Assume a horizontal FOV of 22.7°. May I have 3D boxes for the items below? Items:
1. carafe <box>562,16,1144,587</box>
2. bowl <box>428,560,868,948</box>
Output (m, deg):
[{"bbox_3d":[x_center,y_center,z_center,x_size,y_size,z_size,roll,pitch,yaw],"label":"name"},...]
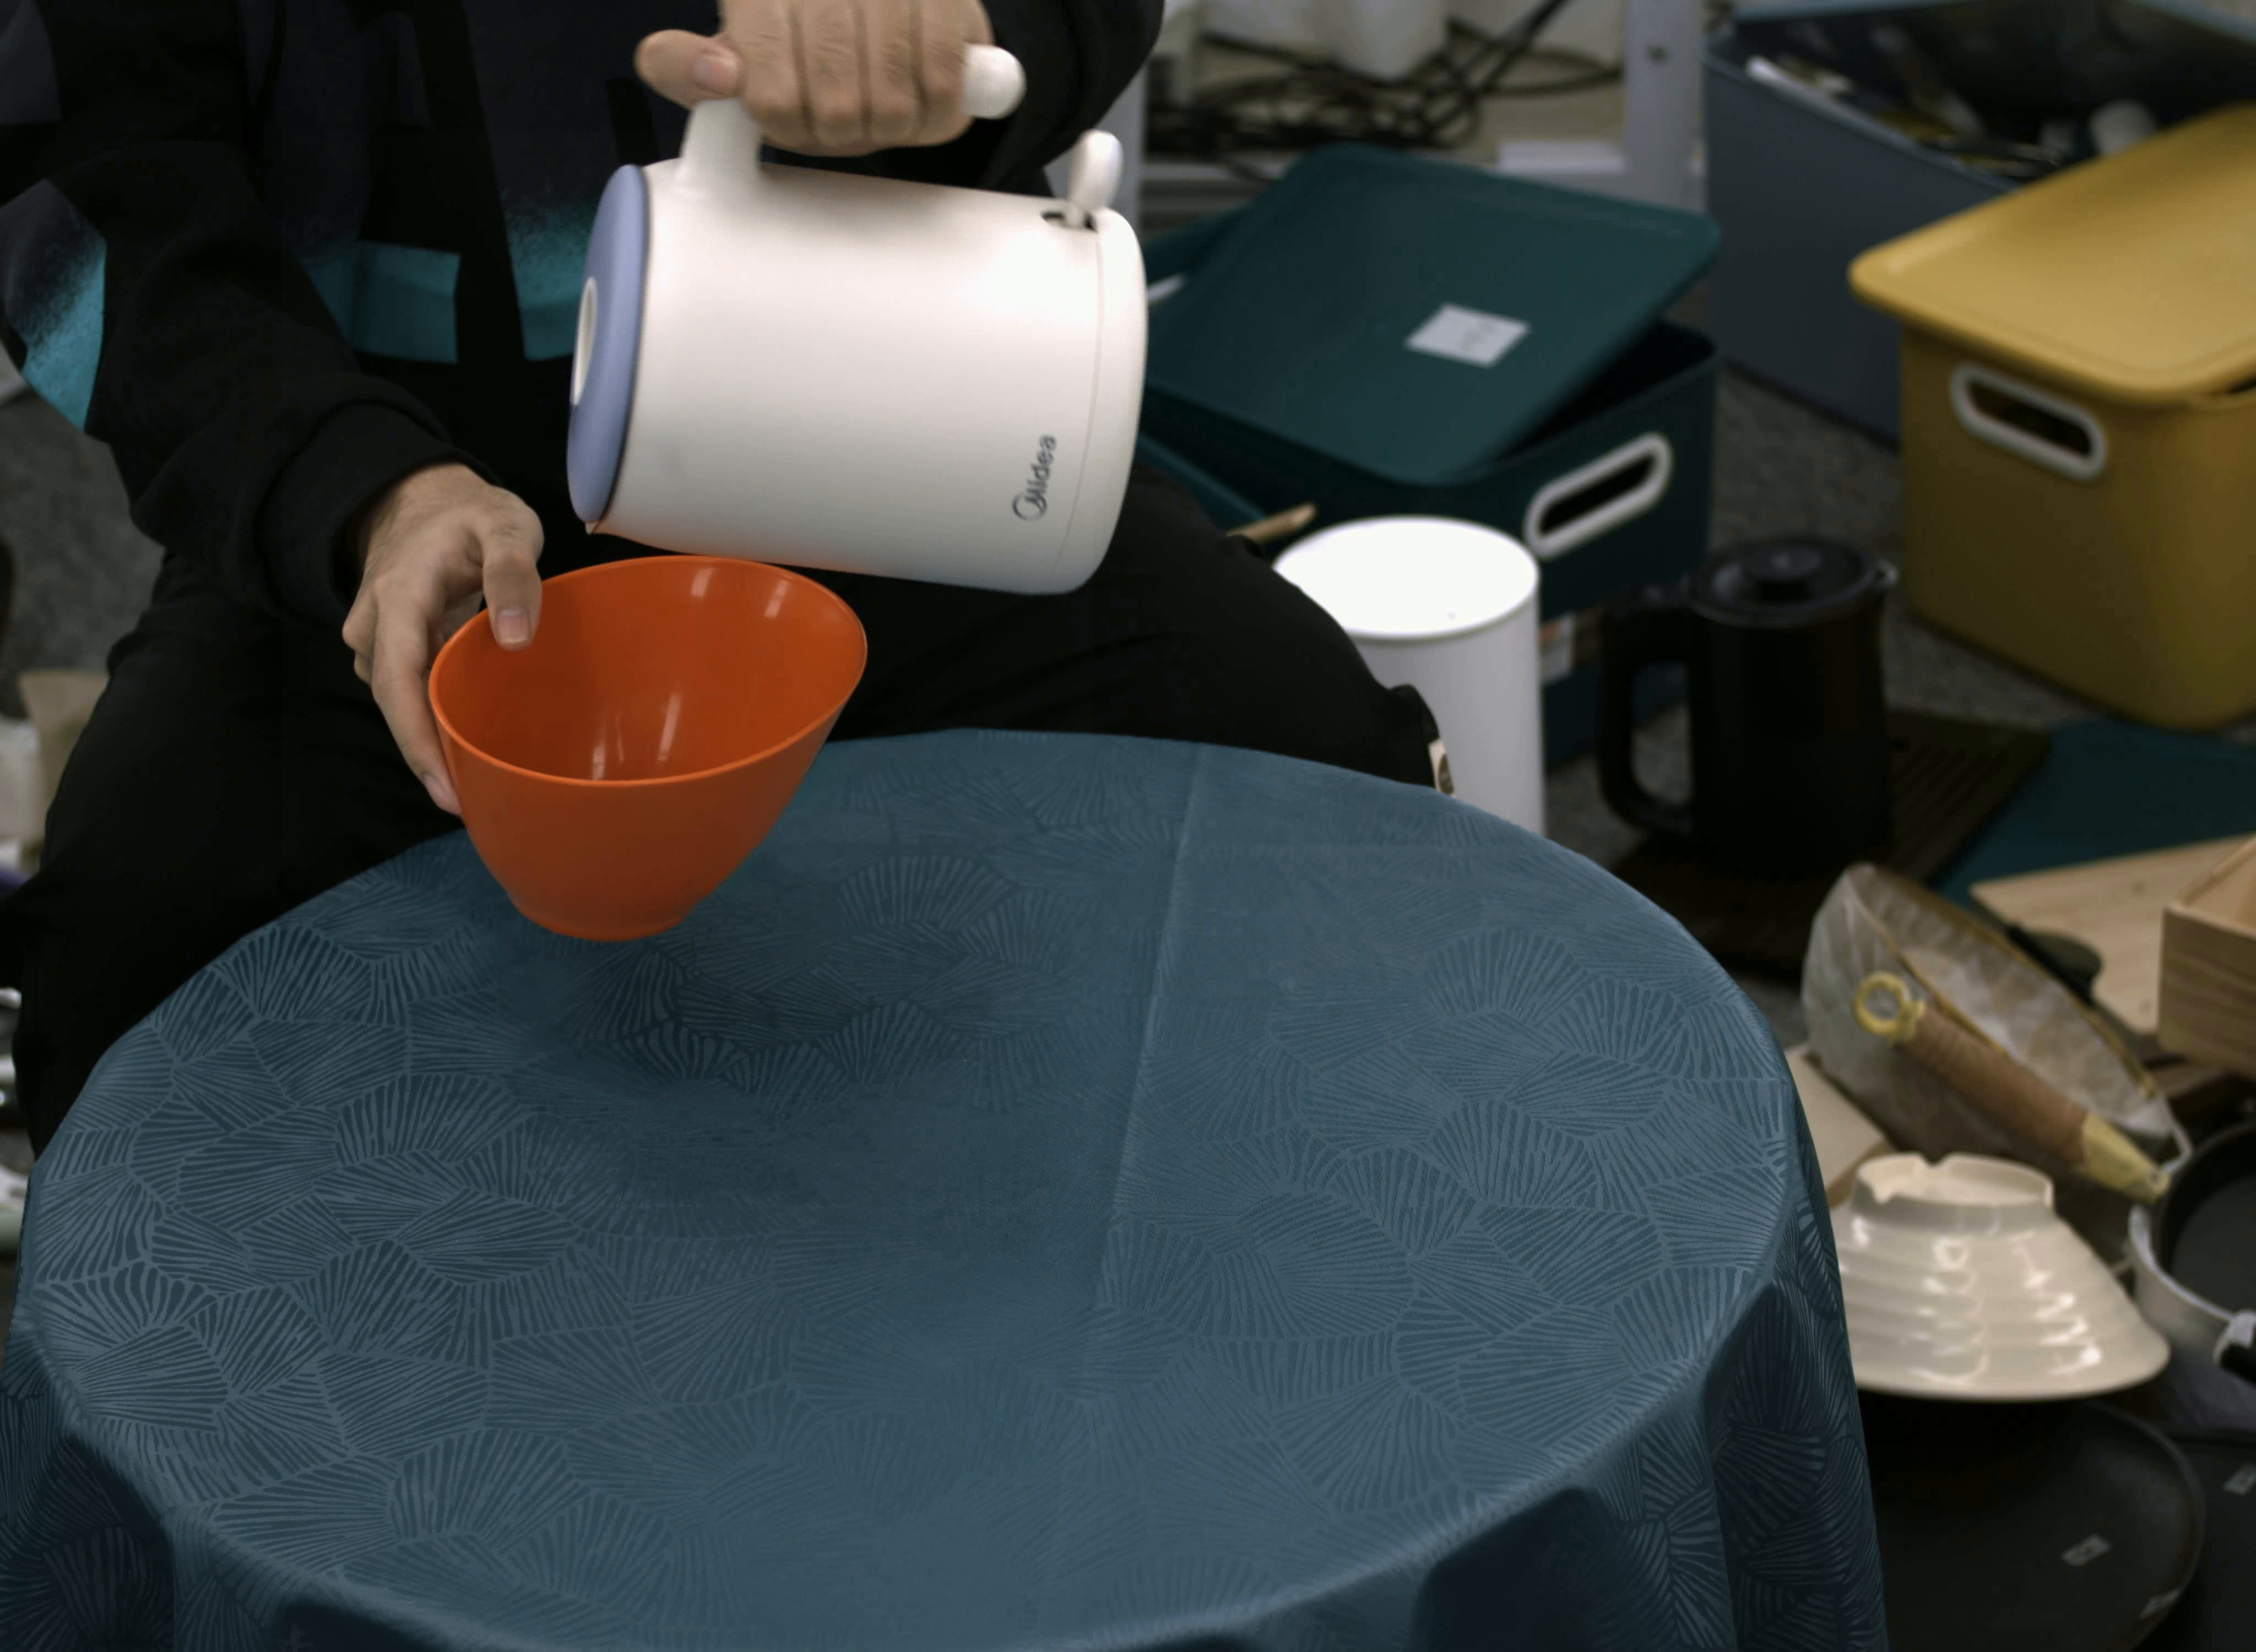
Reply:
[{"bbox_3d":[-0.087,-0.173,1.851,0.182,0.189,0.134,7,25,-14],"label":"carafe"},{"bbox_3d":[-0.166,-0.018,1.919,0.147,0.103,0.150,6,31,-3],"label":"bowl"}]
